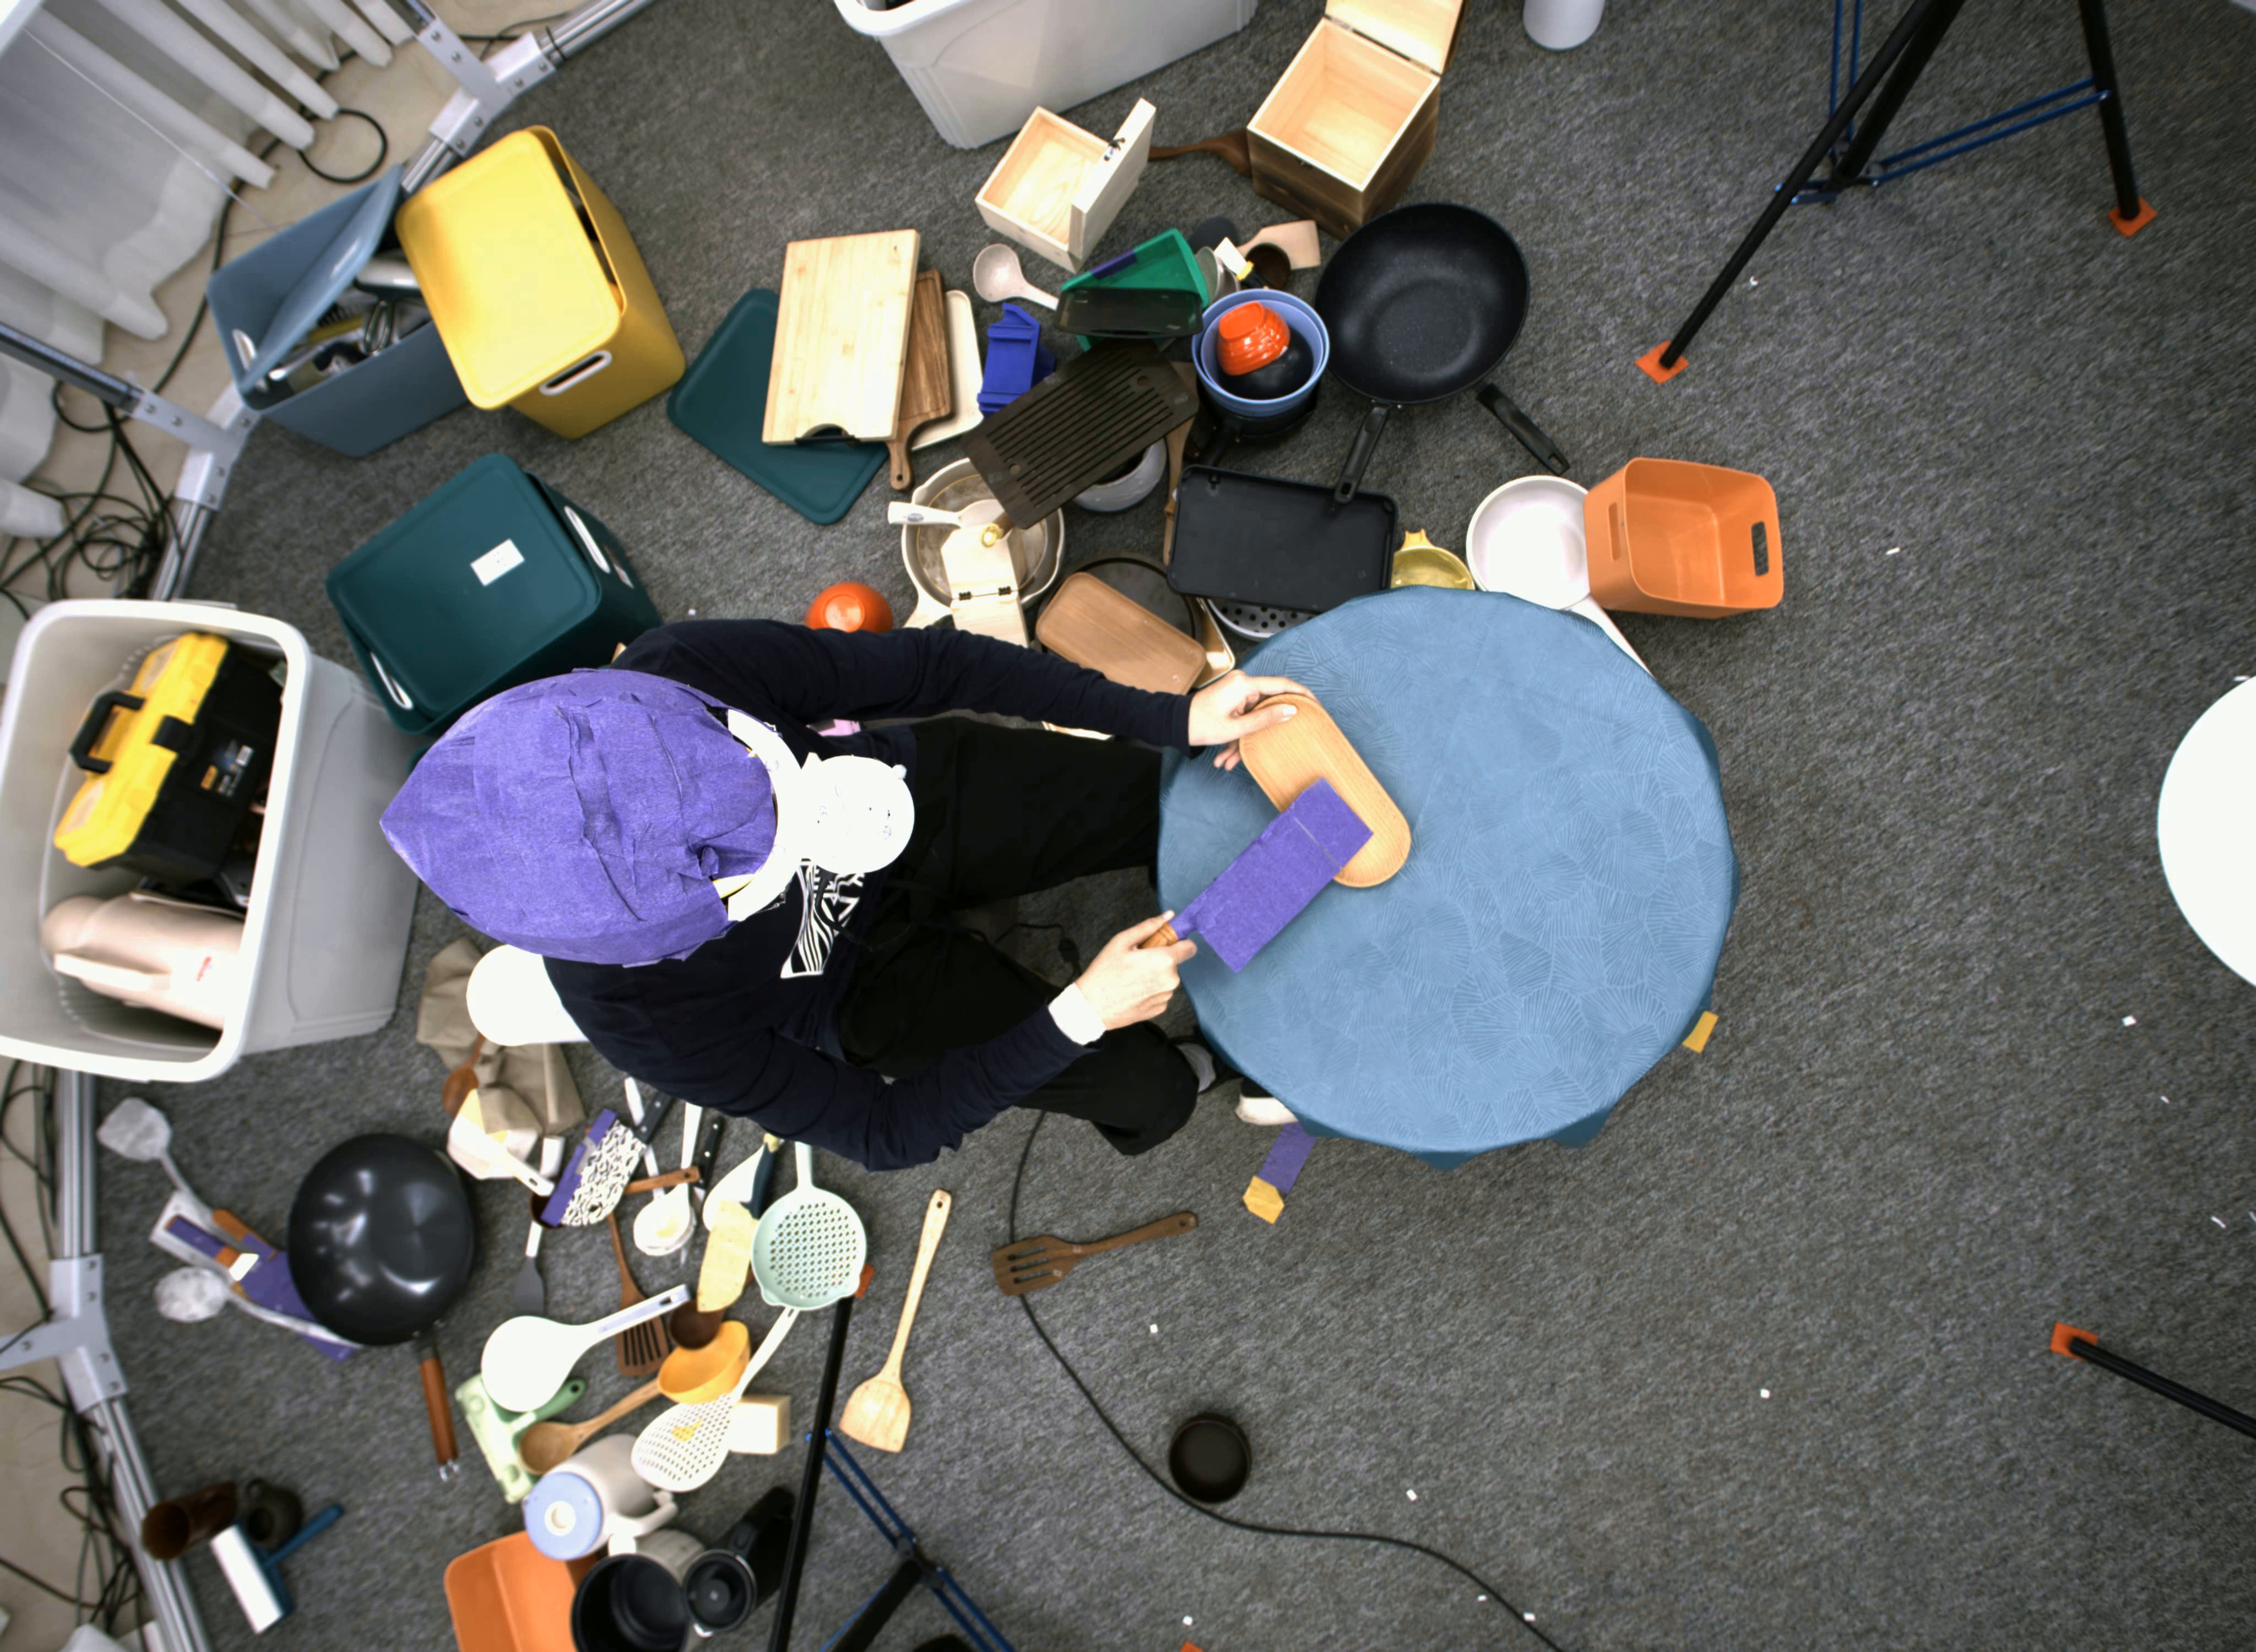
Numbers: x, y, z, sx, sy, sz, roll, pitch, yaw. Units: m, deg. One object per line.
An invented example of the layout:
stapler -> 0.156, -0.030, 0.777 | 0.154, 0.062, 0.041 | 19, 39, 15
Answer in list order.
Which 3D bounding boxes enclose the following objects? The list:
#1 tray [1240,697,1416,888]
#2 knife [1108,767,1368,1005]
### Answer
tray -> 0.208, -0.035, 1.433 | 0.103, 0.020, 0.232 | -38, 103, 15
knife -> 0.119, 0.082, 1.414 | 0.315, 0.032, 0.104 | -45, 106, -2
